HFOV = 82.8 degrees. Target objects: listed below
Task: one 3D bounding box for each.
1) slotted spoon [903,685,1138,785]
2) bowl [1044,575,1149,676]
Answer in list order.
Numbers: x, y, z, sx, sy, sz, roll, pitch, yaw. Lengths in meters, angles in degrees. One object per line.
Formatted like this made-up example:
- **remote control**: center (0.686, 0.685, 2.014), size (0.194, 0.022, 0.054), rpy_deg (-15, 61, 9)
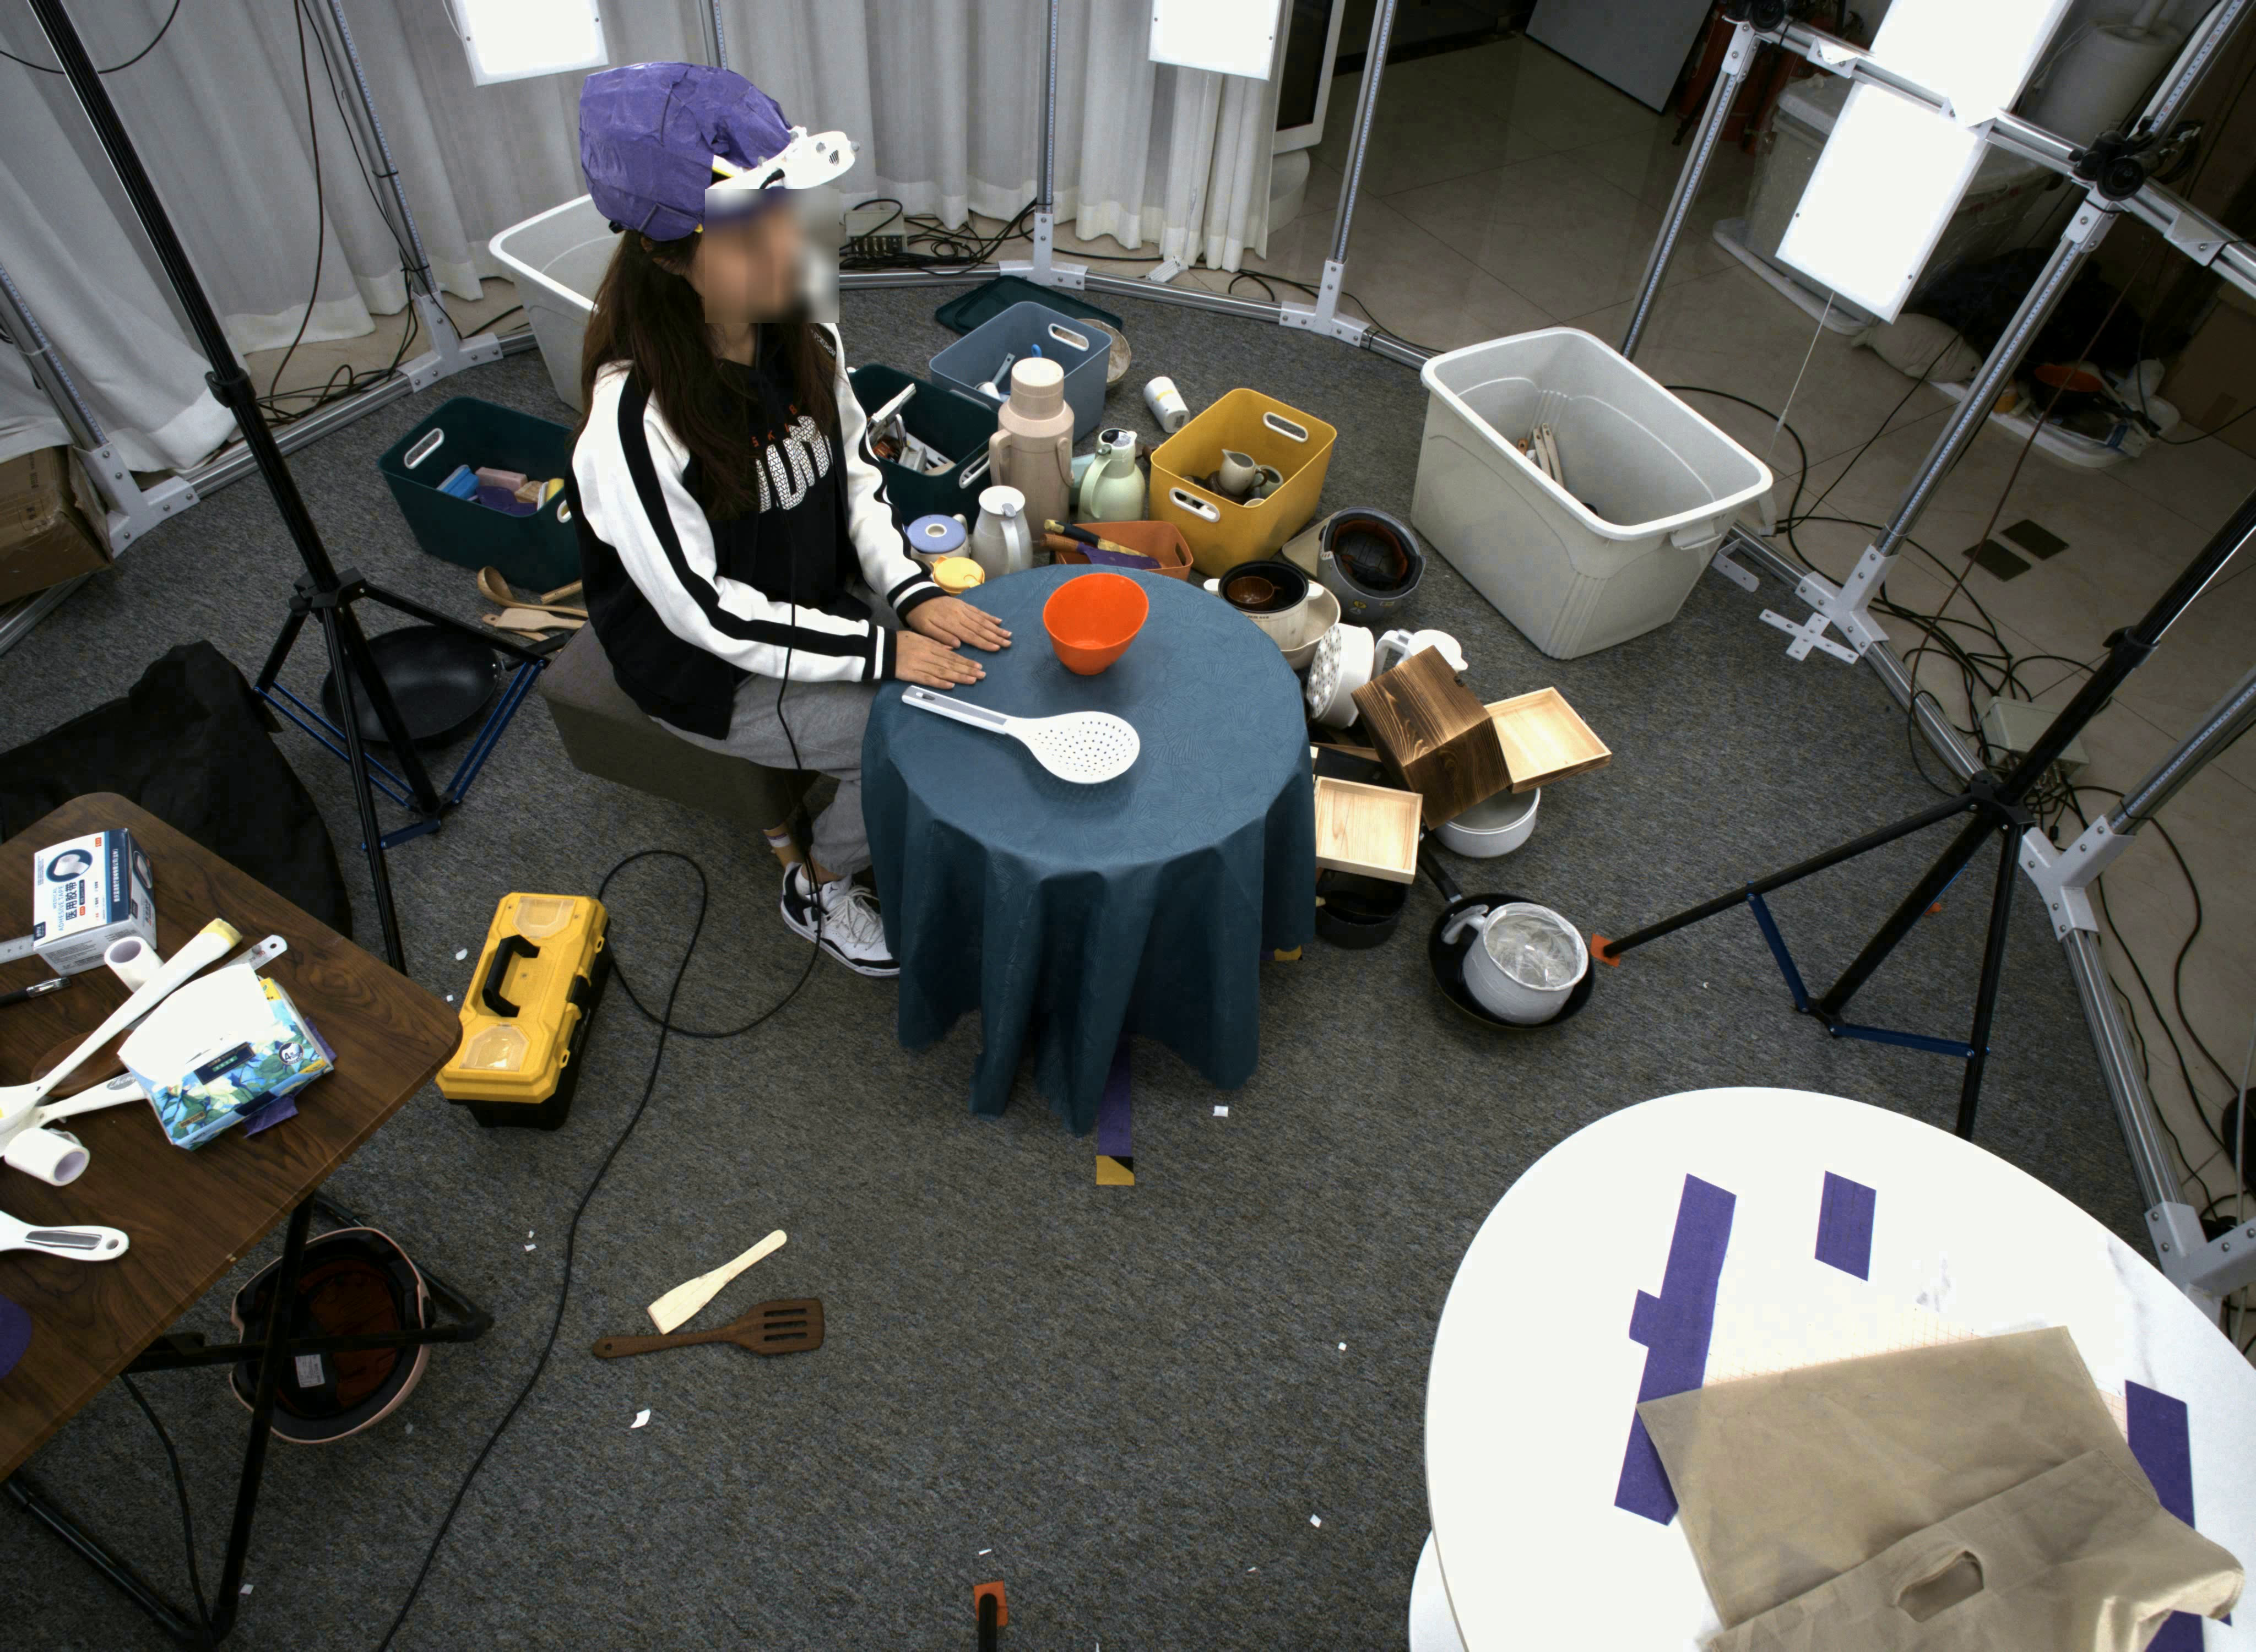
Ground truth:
- **slotted spoon**: center (-0.152, -0.133, 1.746), size (0.352, 0.044, 0.138), rpy_deg (21, 50, 15)
- **bowl**: center (-0.046, -0.277, 1.843), size (0.148, 0.102, 0.152), rpy_deg (1, 51, -2)
